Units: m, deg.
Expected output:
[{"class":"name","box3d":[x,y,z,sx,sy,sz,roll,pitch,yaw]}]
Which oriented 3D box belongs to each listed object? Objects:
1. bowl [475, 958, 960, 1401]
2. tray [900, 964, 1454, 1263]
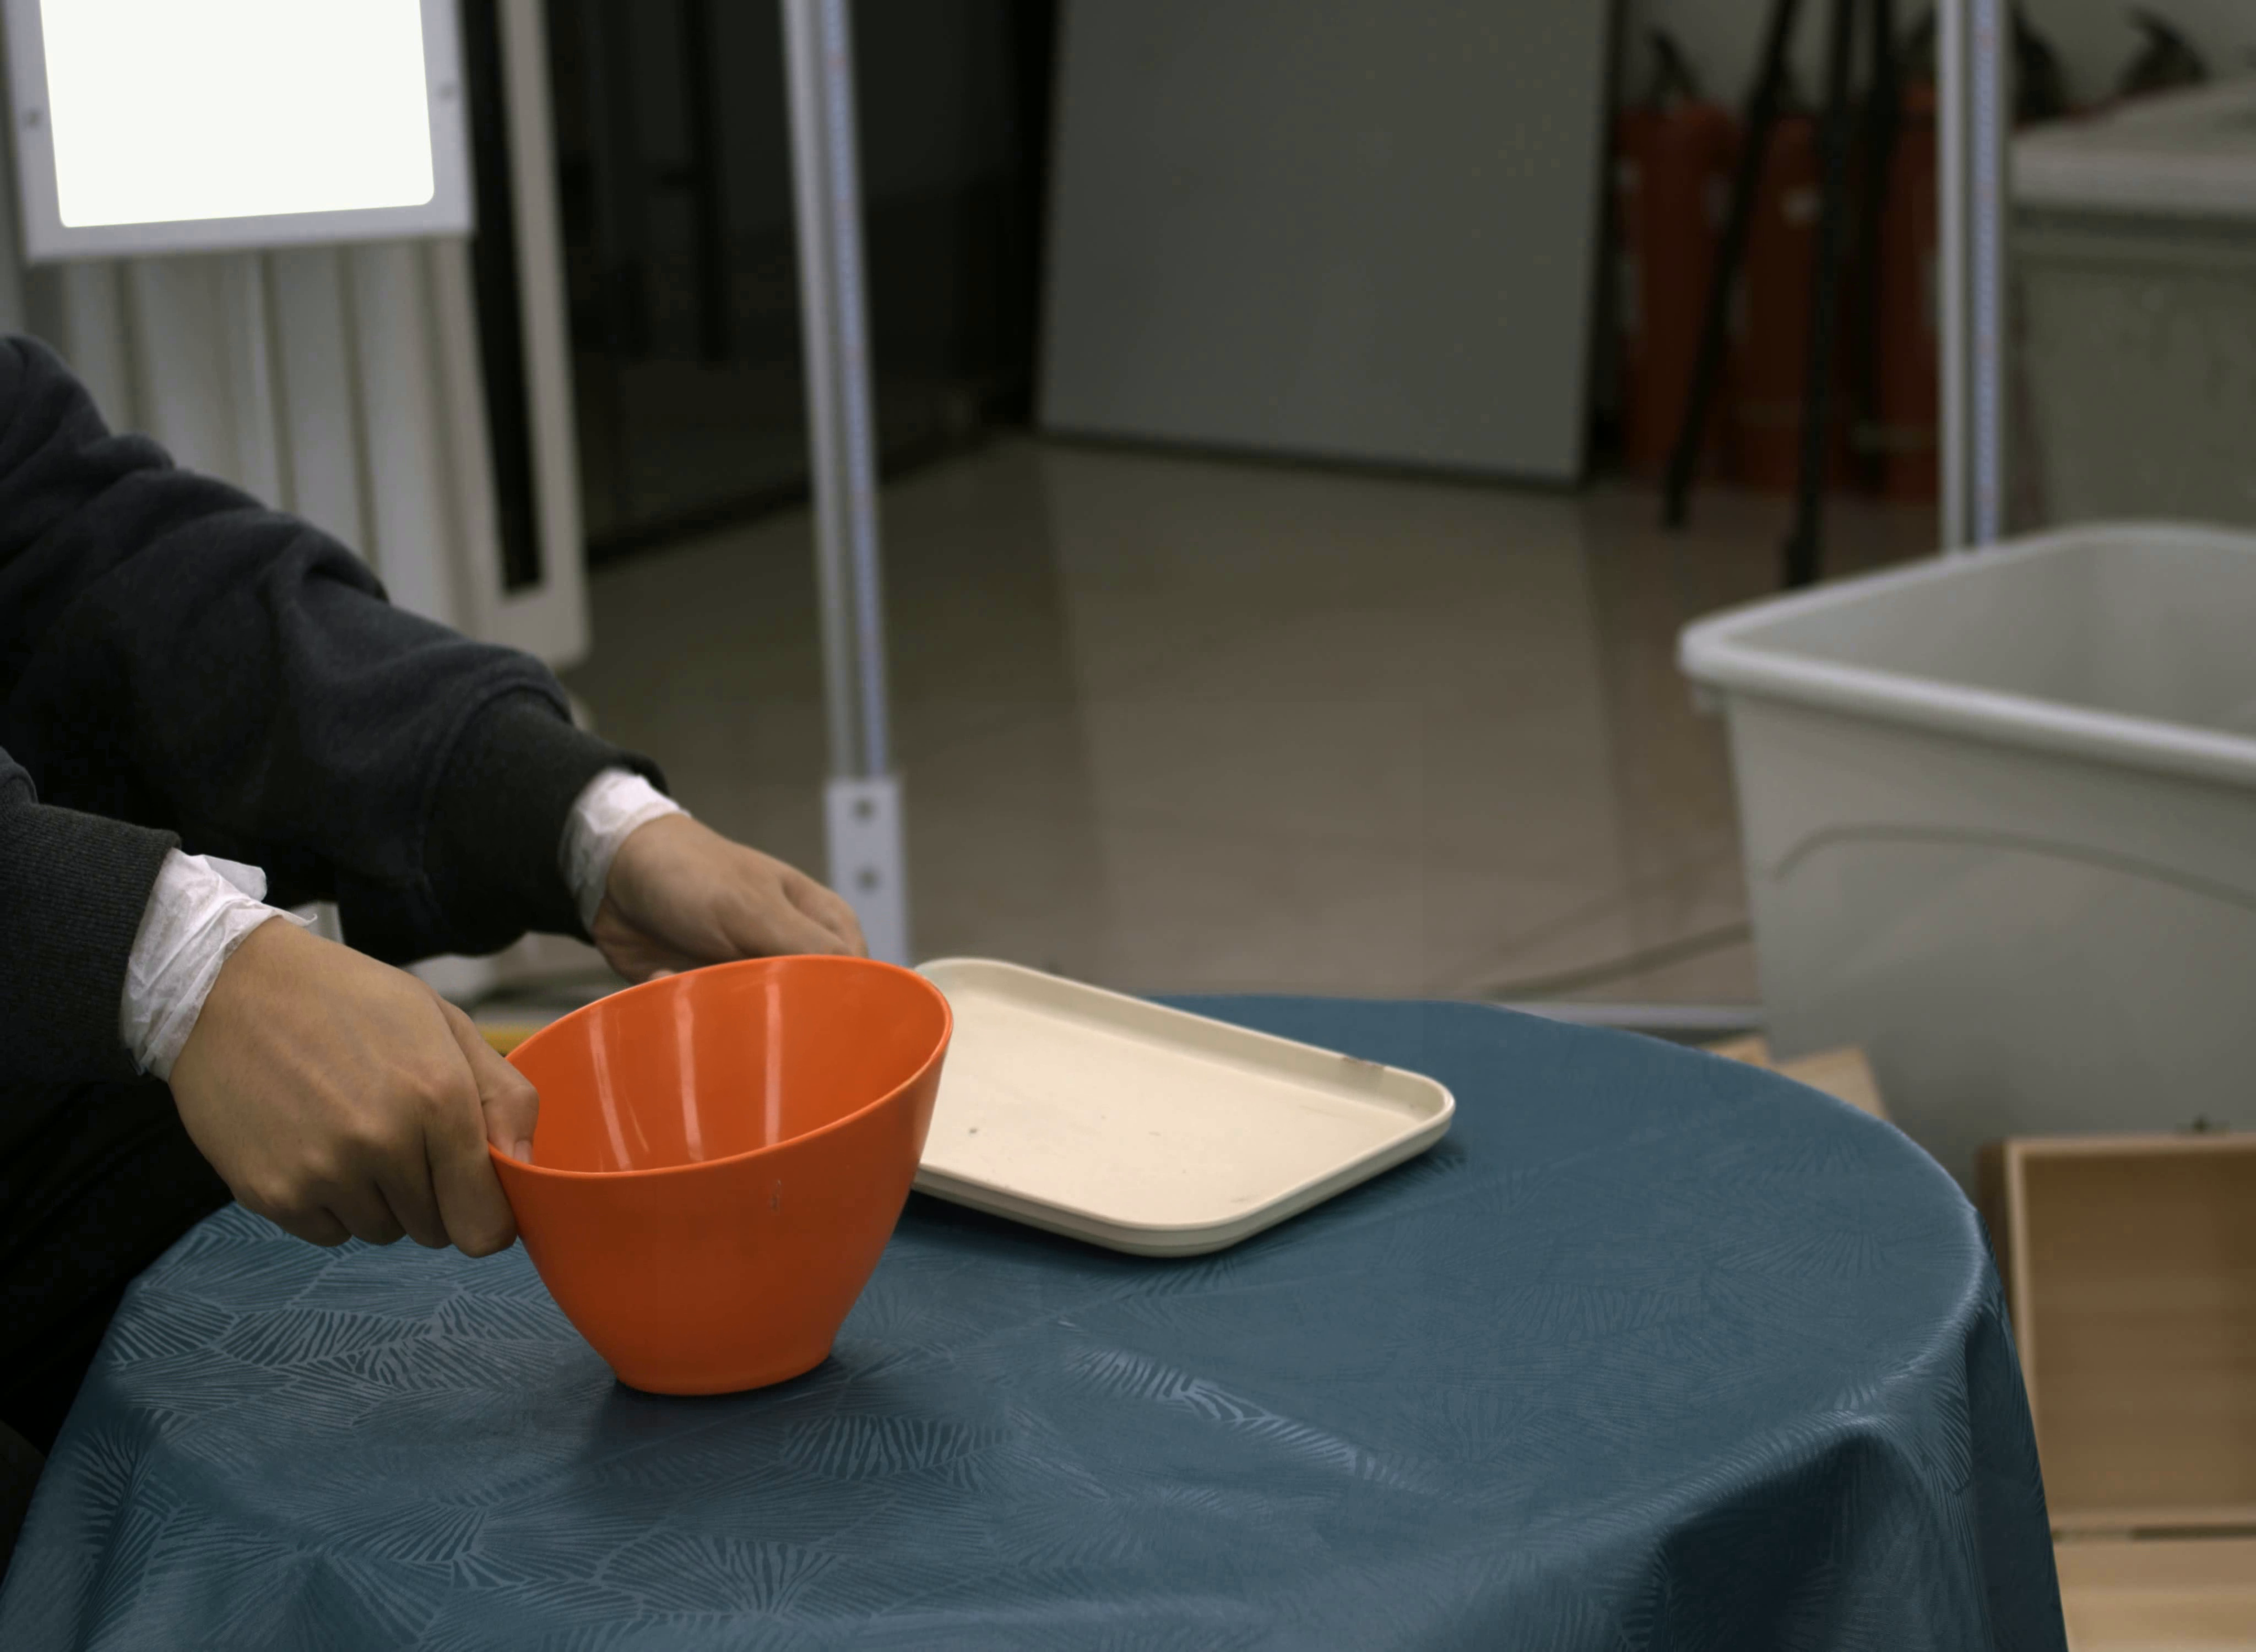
[{"class":"bowl","box3d":[-0.120,0.109,1.624,0.146,0.106,0.148,-4,13,0]},{"class":"tray","box3d":[-0.023,0.095,1.807,0.241,0.017,0.168,13,22,37]}]
